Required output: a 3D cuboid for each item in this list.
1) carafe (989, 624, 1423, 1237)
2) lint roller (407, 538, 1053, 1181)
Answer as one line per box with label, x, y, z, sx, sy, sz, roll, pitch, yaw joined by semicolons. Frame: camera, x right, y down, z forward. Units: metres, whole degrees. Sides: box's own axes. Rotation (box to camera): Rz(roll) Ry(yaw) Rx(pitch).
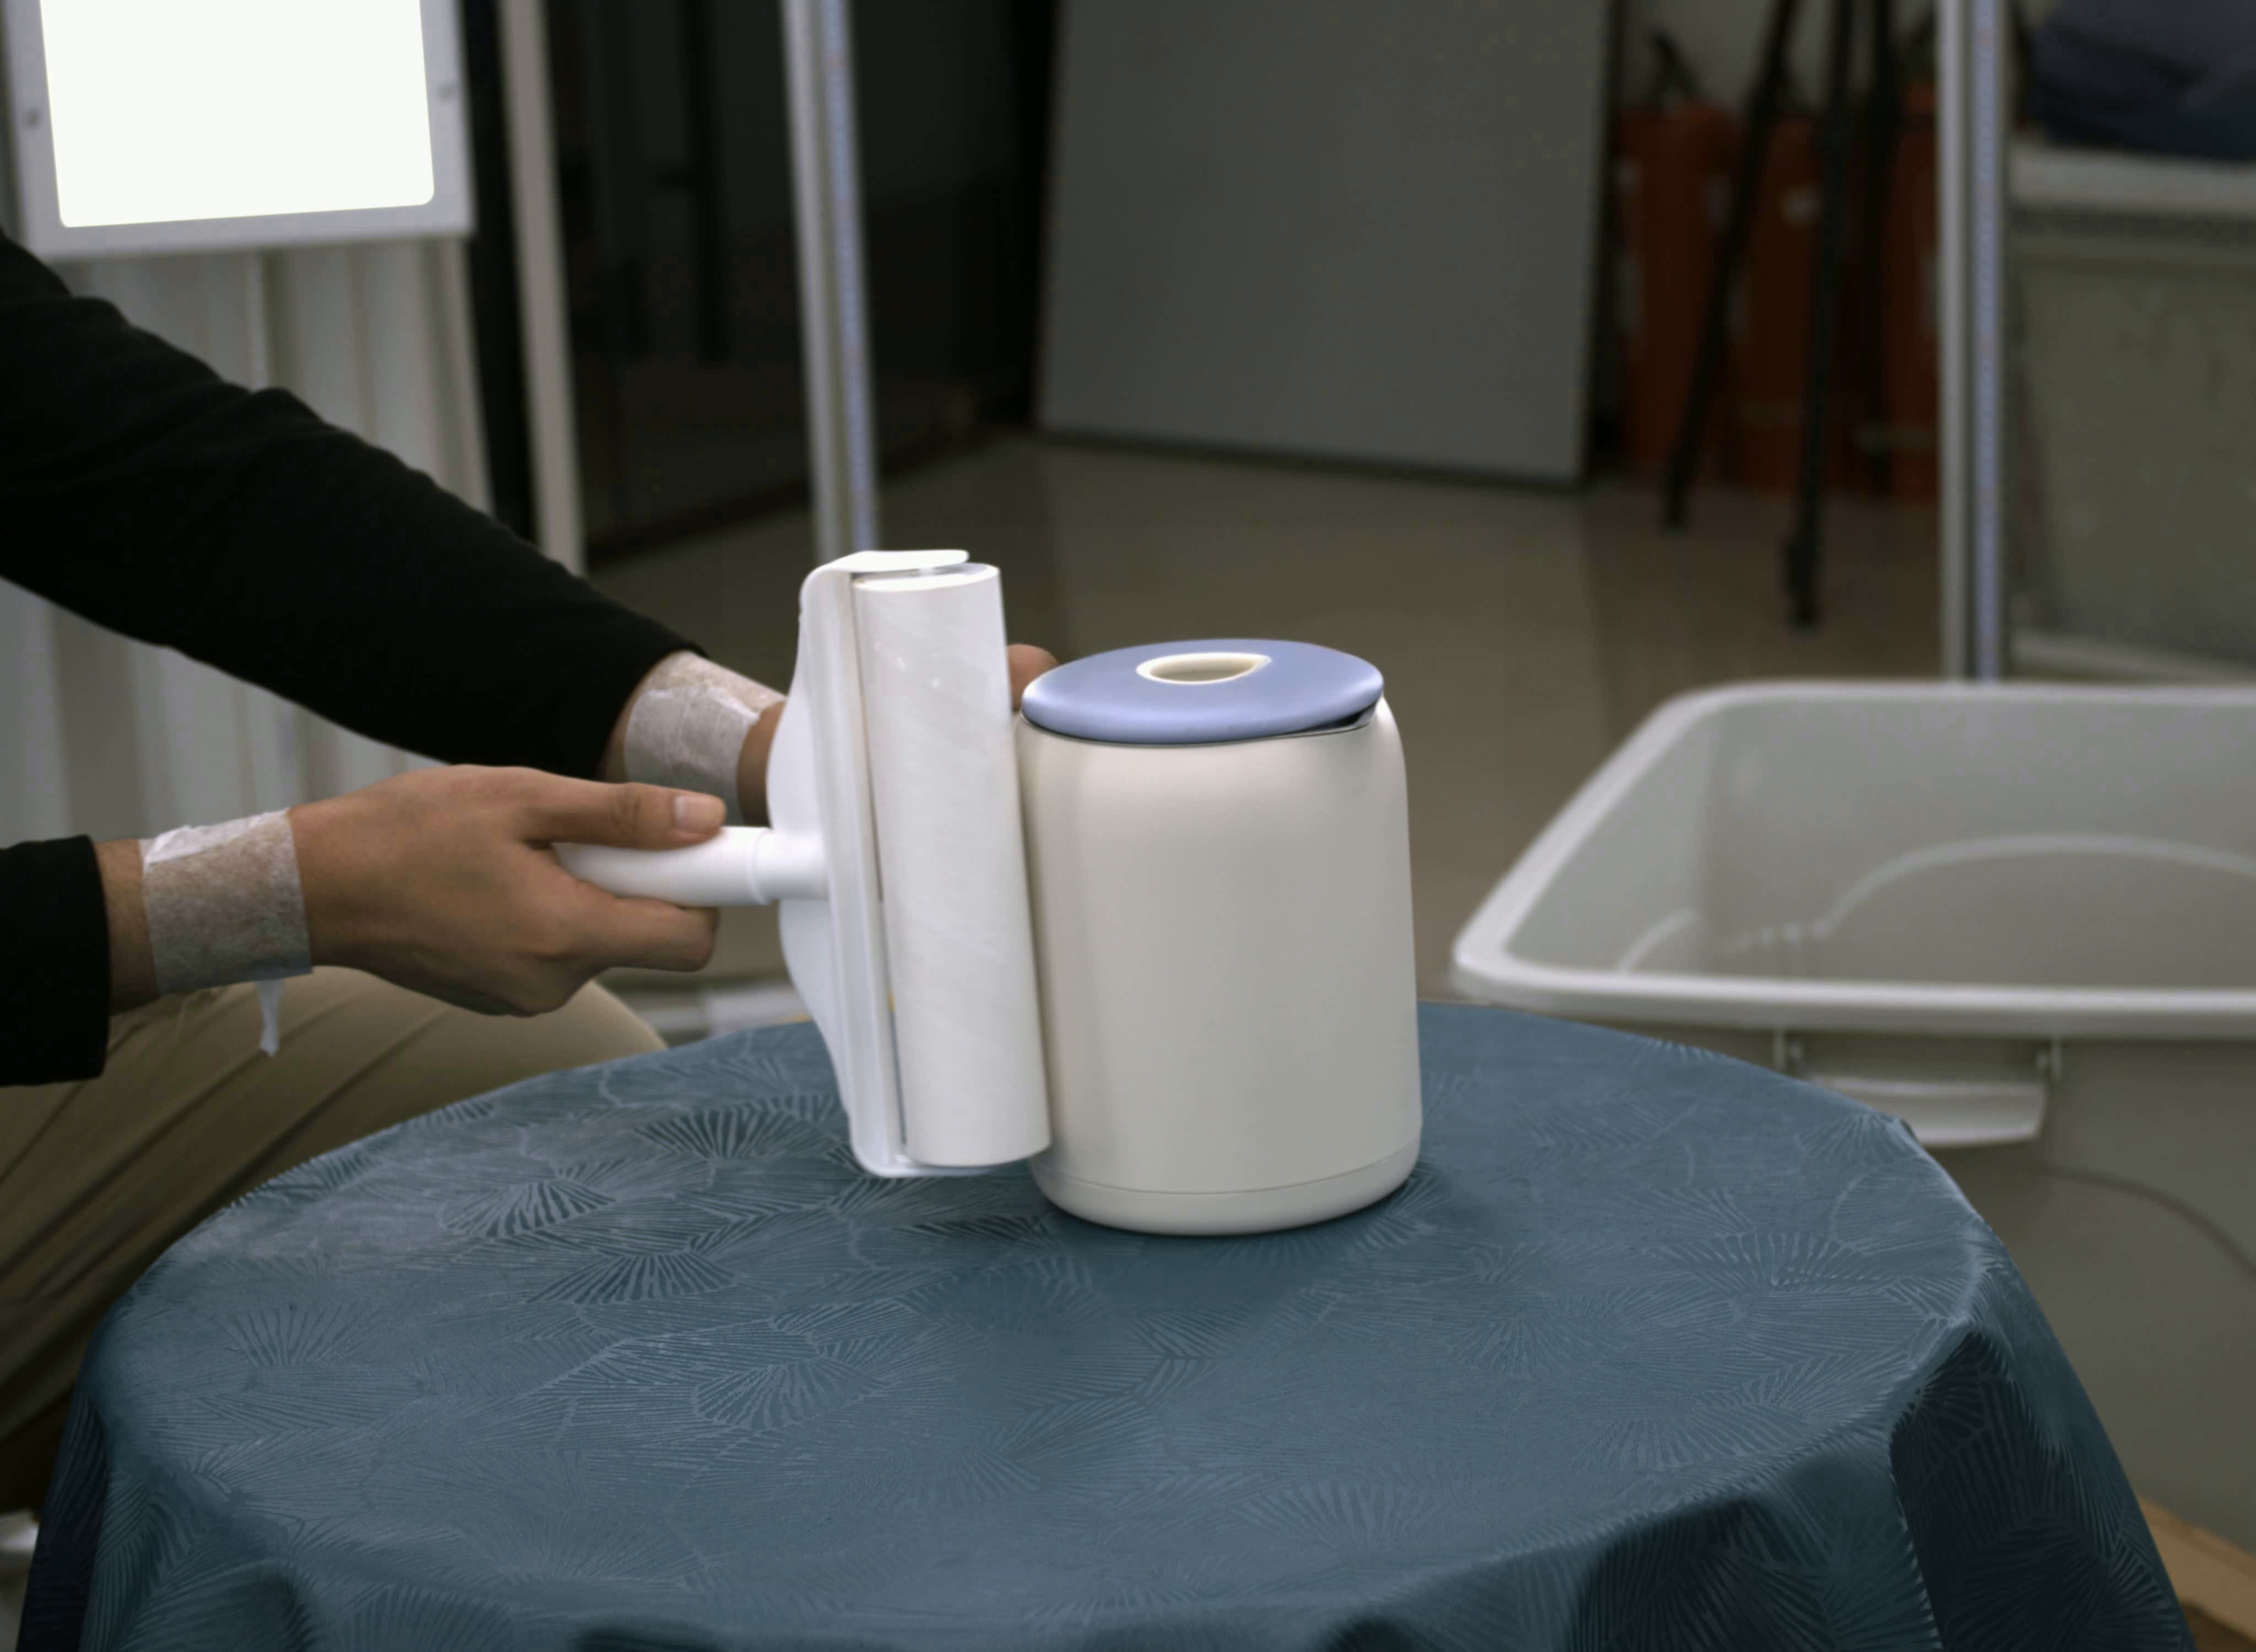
carafe;0.010;0.031;1.770;0.193;0.184;0.129;6;16;43
lint roller;-0.137;0.014;1.745;0.225;0.205;0.048;-3;12;22
